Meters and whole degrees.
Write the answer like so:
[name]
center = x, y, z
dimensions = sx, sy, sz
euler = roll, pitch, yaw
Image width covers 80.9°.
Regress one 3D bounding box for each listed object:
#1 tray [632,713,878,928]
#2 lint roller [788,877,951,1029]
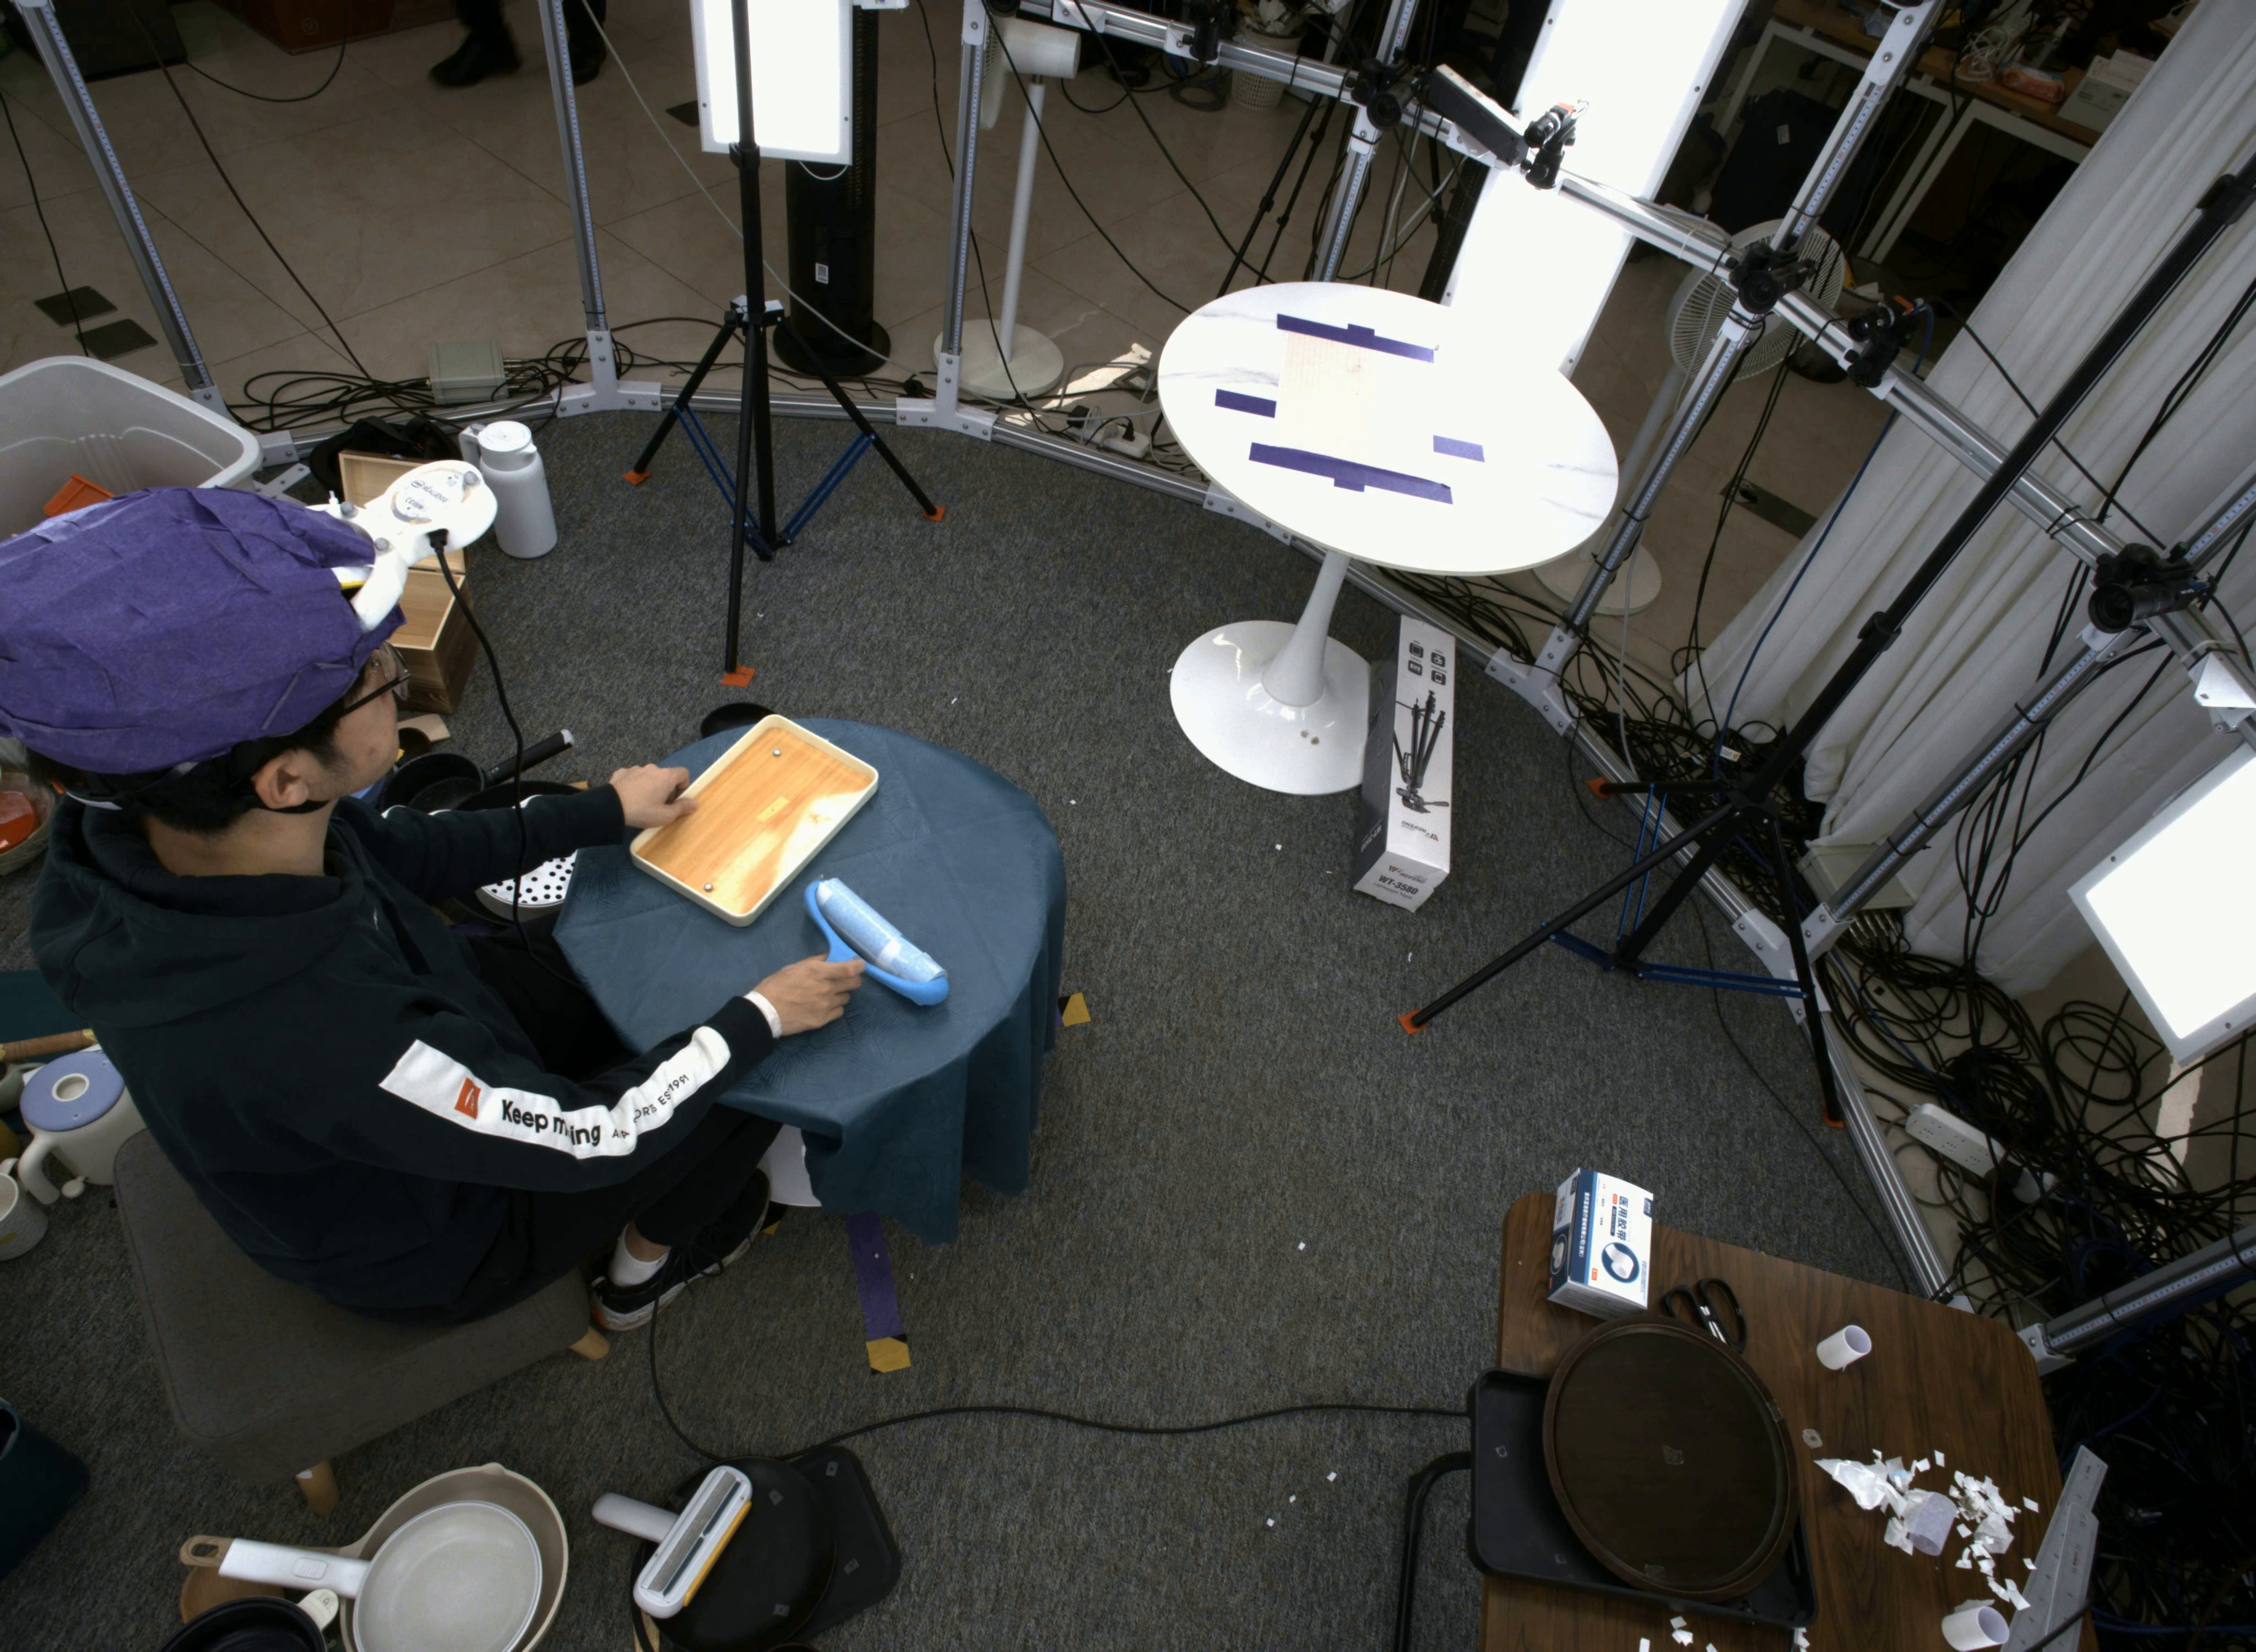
[tray]
center = -0.488, -0.015, 1.707
dimensions = 0.188, 0.028, 0.299
euler = 30, 52, 8
[lint roller]
center = -0.345, 0.172, 1.588
dimensions = 0.225, 0.069, 0.180
euler = 36, 52, 10
